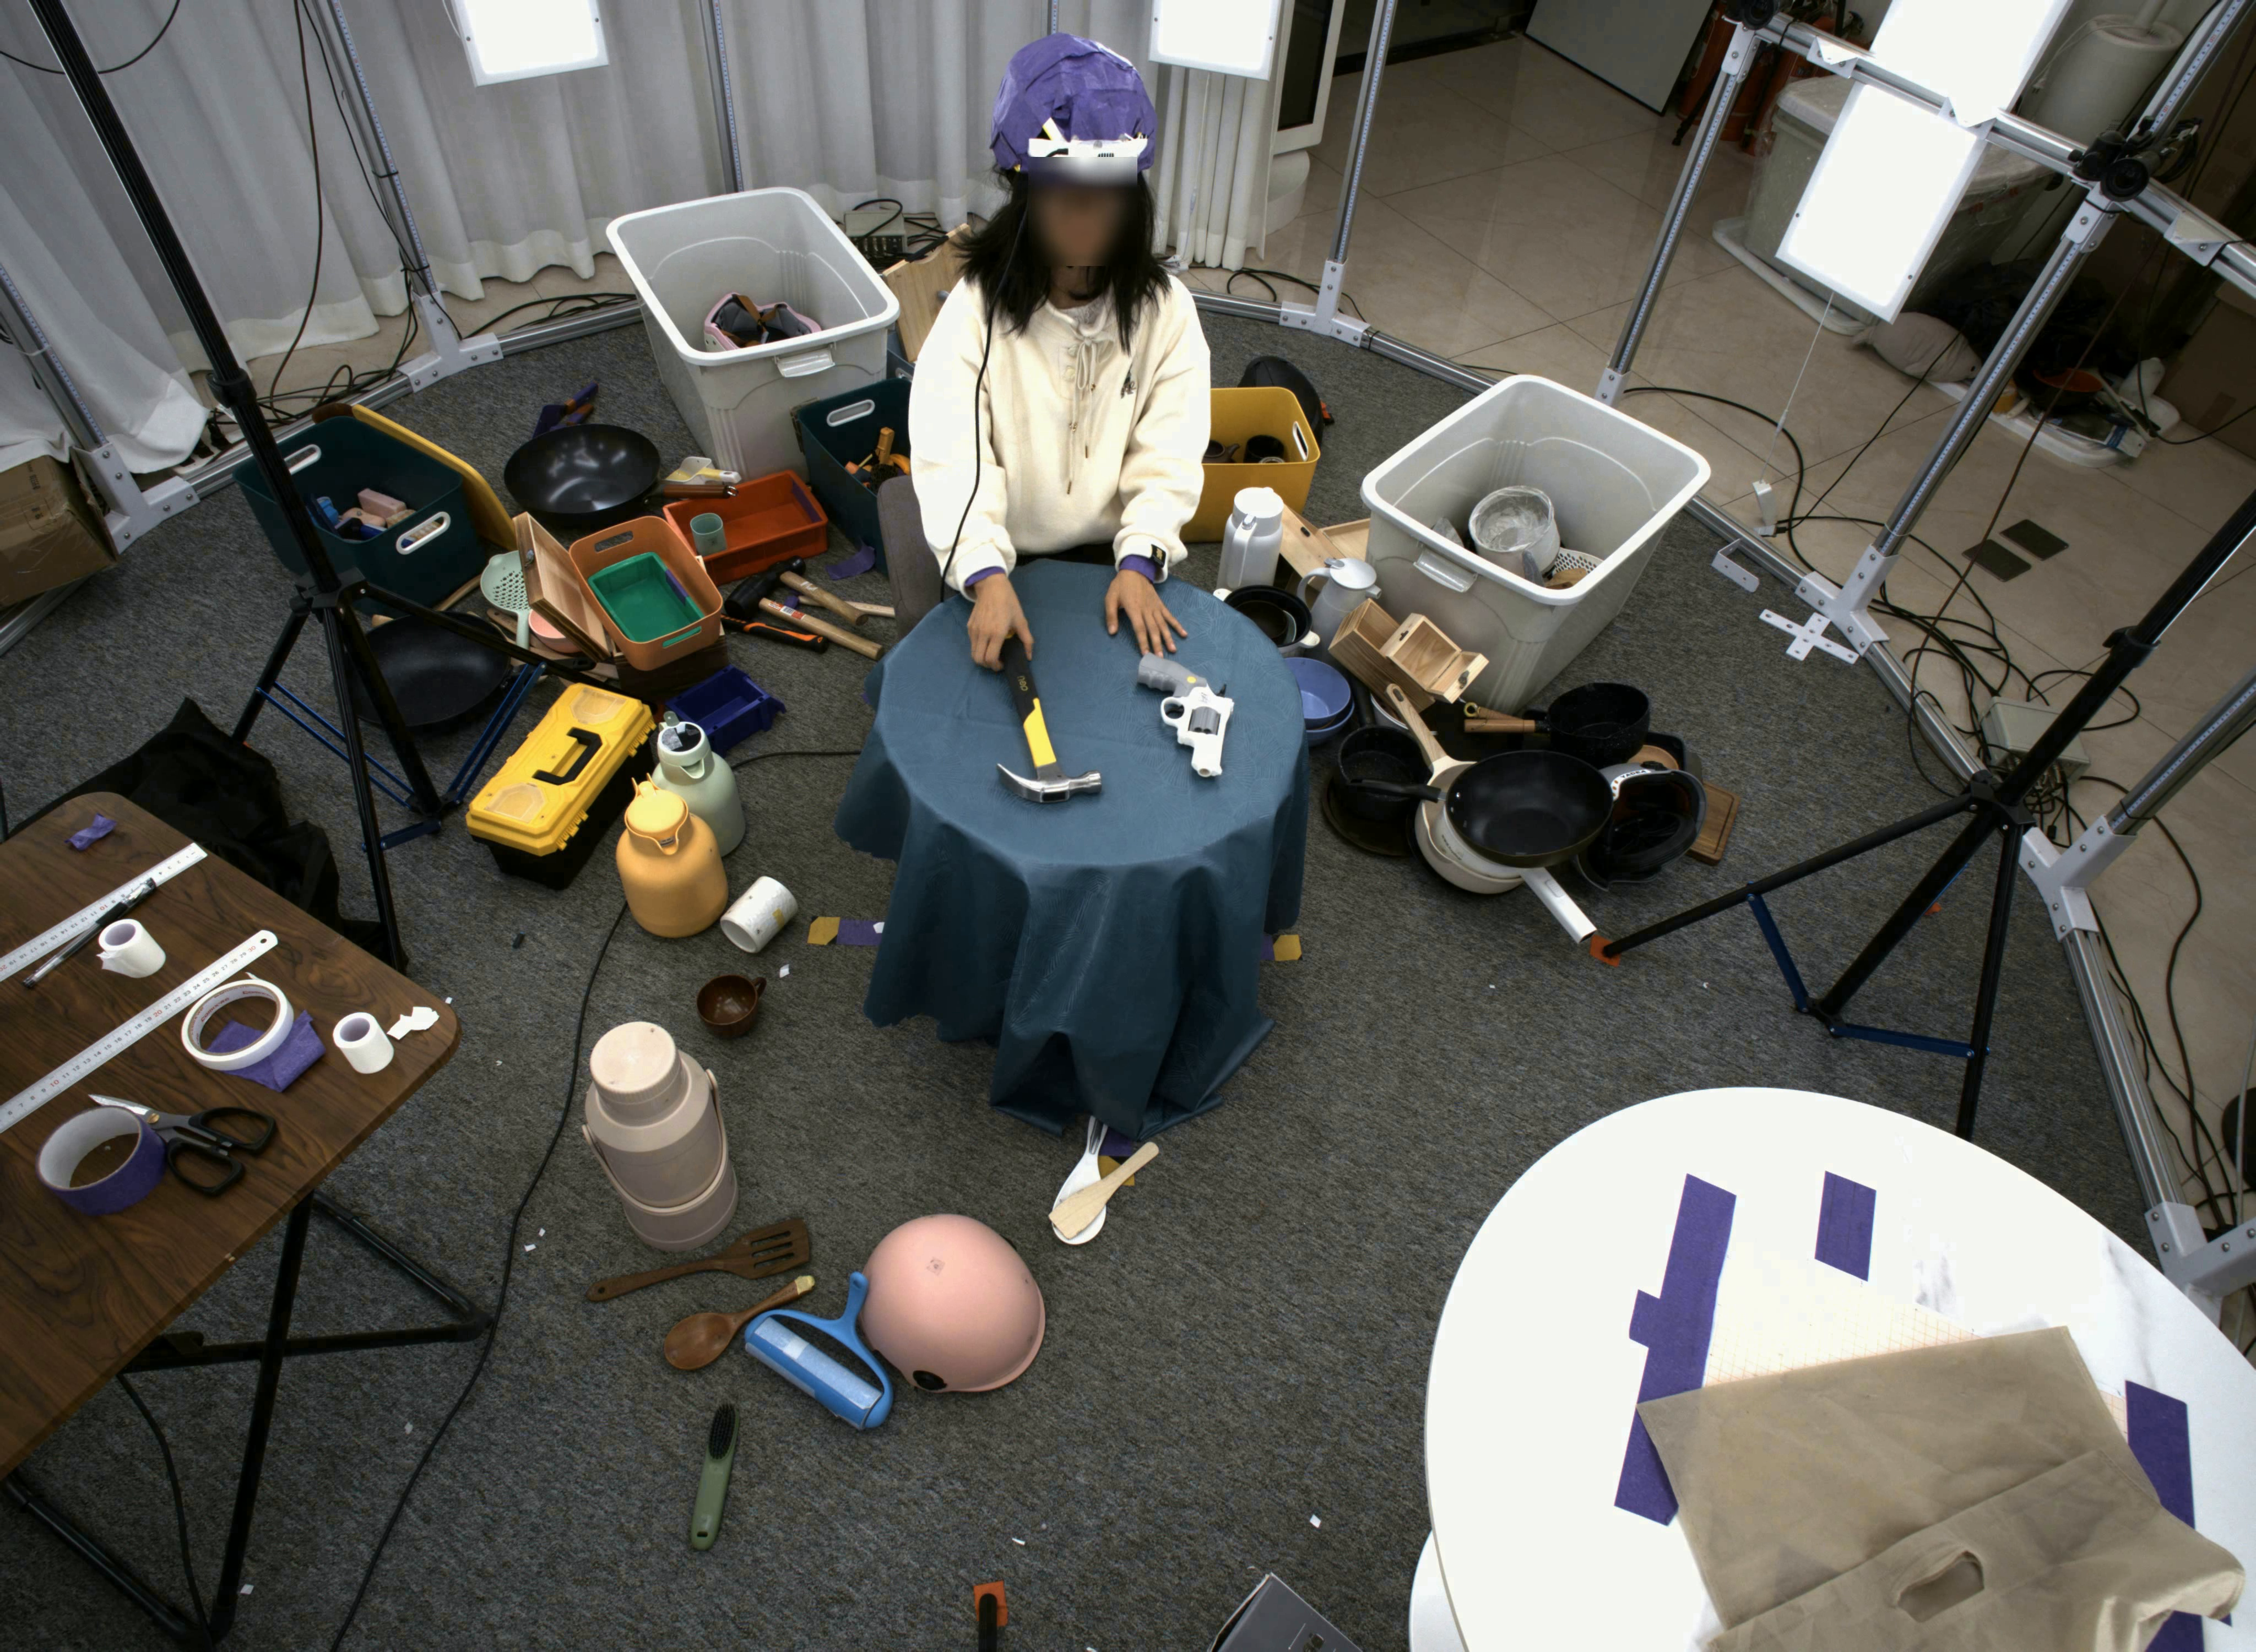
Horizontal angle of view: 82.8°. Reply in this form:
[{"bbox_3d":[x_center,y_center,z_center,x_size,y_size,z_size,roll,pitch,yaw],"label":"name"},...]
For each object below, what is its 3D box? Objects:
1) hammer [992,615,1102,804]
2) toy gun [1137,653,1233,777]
[{"bbox_3d":[-0.138,-0.170,1.781,0.131,0.031,0.347,-10,53,-10],"label":"hammer"},{"bbox_3d":[0.074,-0.158,1.787,0.141,0.038,0.214,8,49,2],"label":"toy gun"}]
